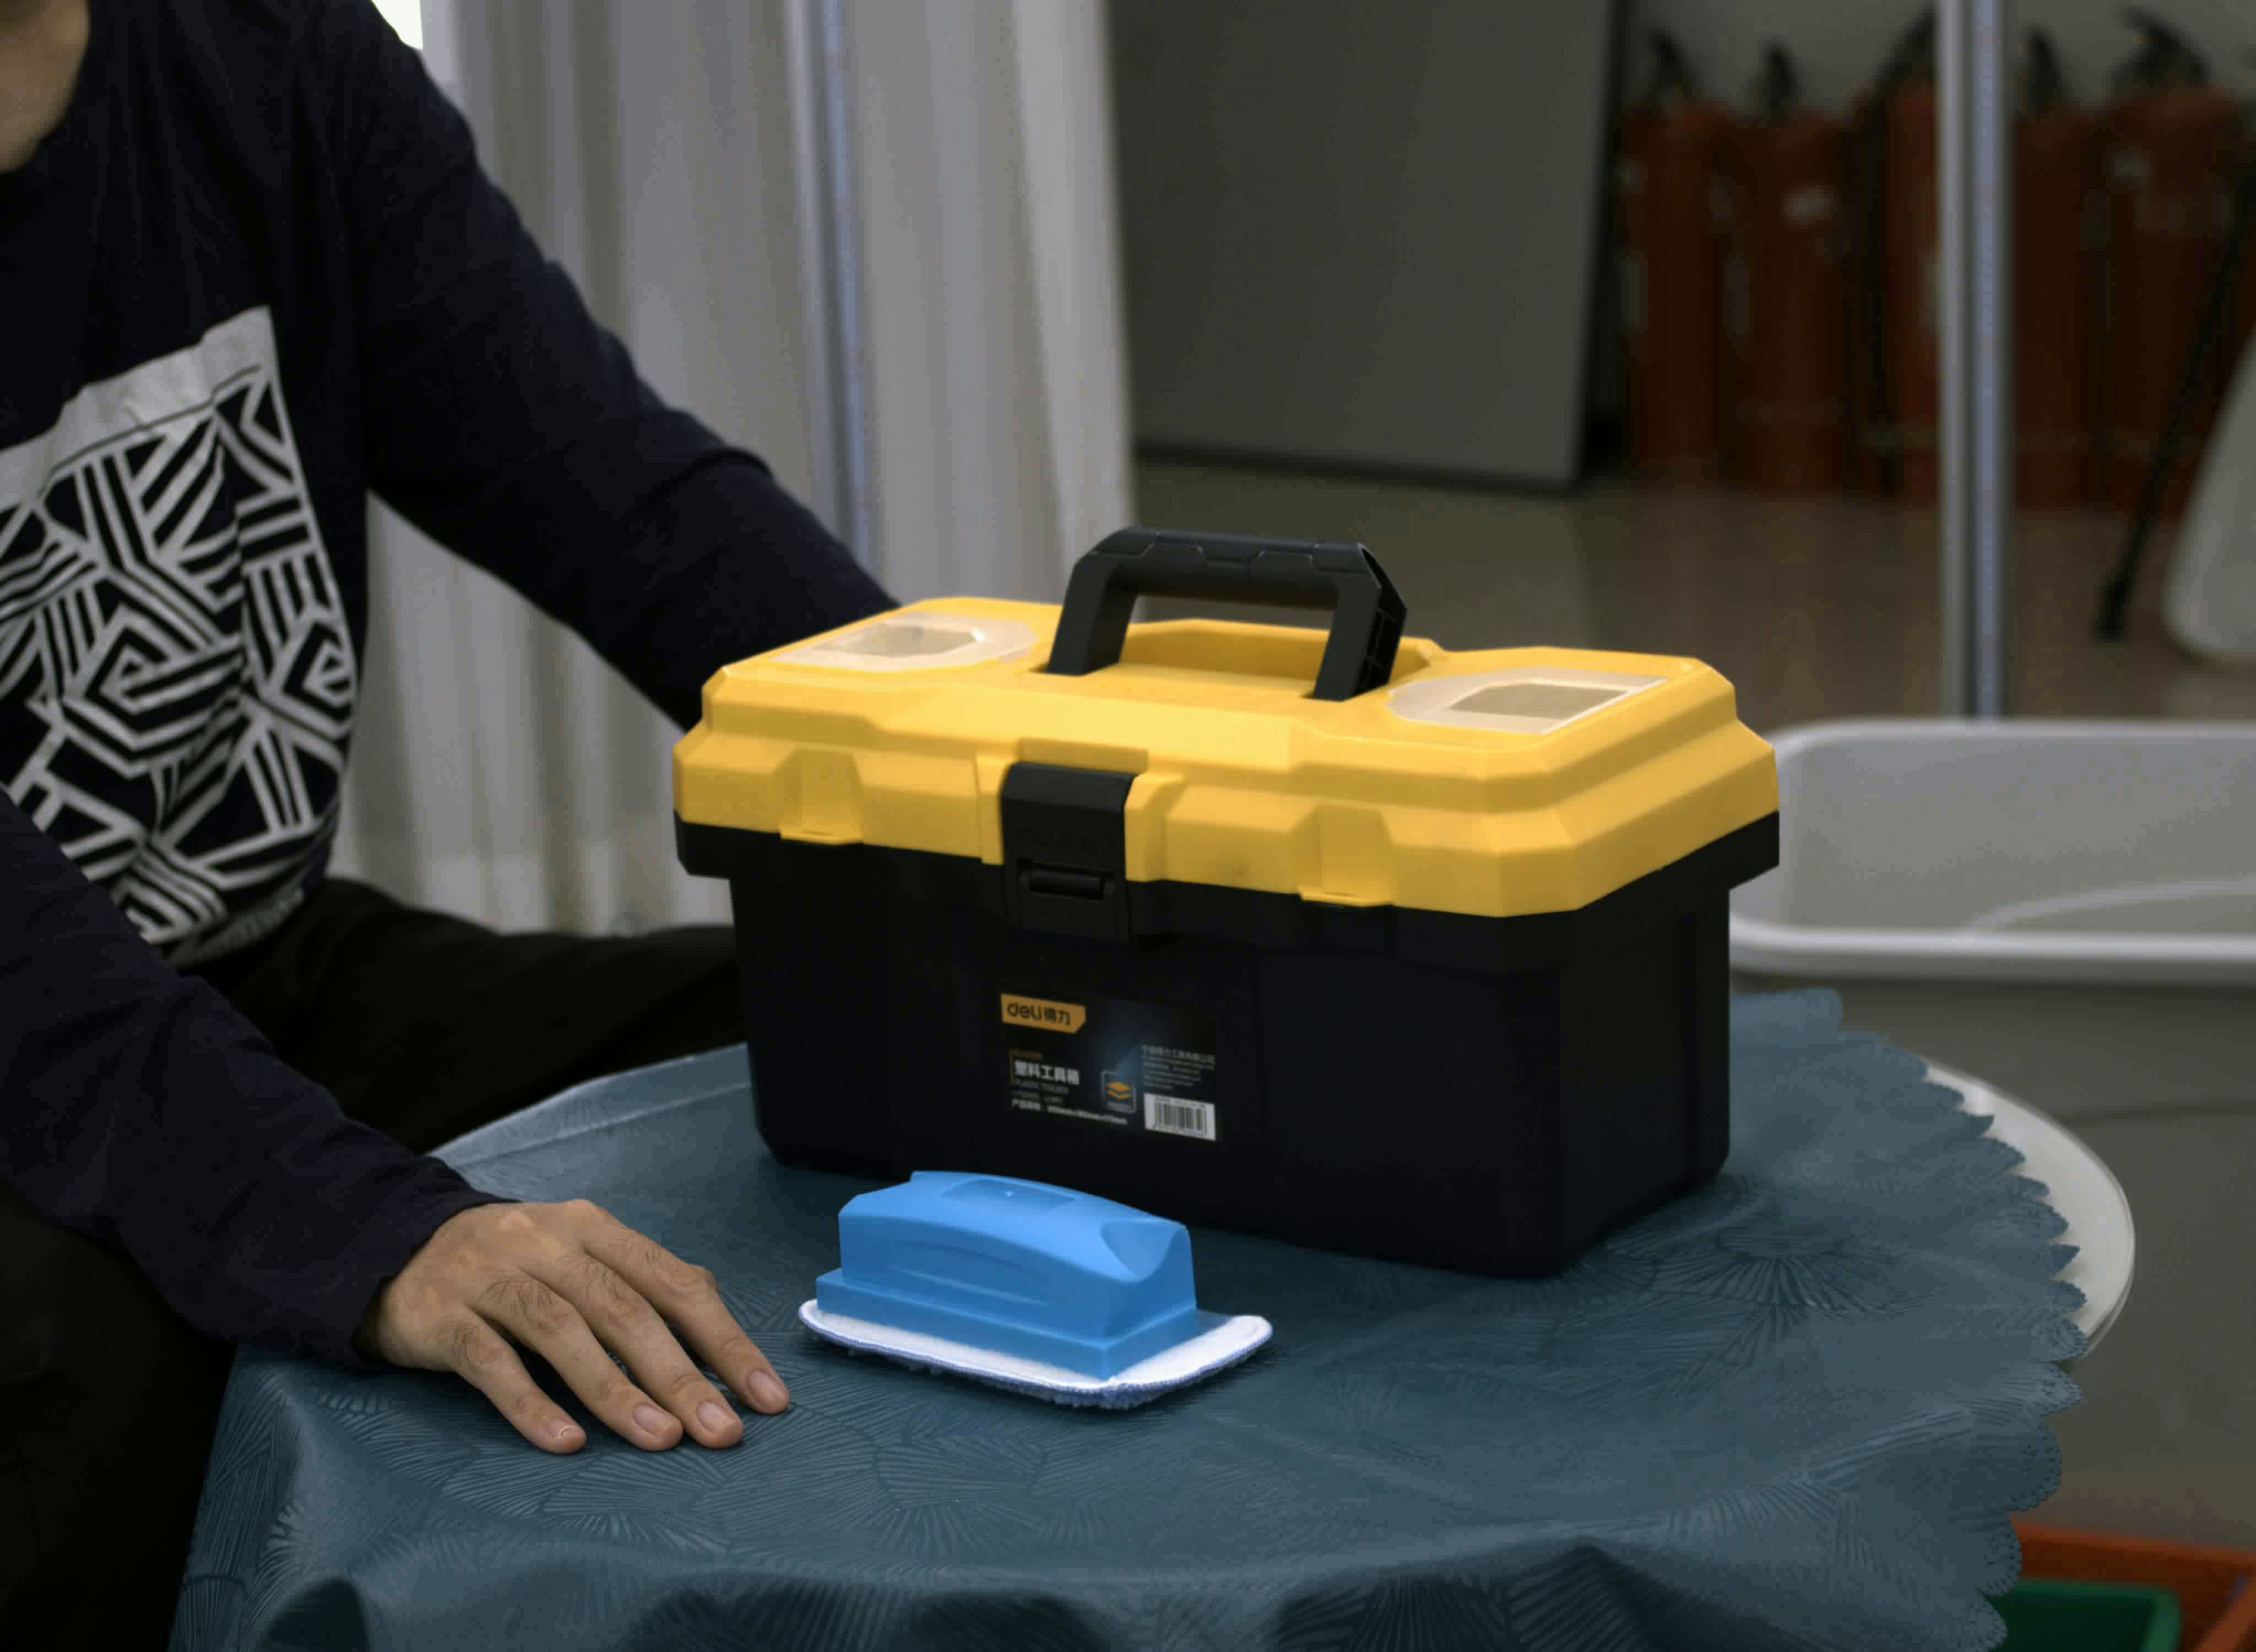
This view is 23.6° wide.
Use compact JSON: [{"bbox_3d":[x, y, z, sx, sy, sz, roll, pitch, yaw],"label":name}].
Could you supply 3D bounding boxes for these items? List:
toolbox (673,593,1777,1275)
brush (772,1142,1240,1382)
[{"bbox_3d":[0.029,0.030,1.770,0.353,0.175,0.178,6,16,35],"label":"toolbox"},{"bbox_3d":[-0.037,0.129,1.625,0.145,0.056,0.082,12,17,44],"label":"brush"}]
